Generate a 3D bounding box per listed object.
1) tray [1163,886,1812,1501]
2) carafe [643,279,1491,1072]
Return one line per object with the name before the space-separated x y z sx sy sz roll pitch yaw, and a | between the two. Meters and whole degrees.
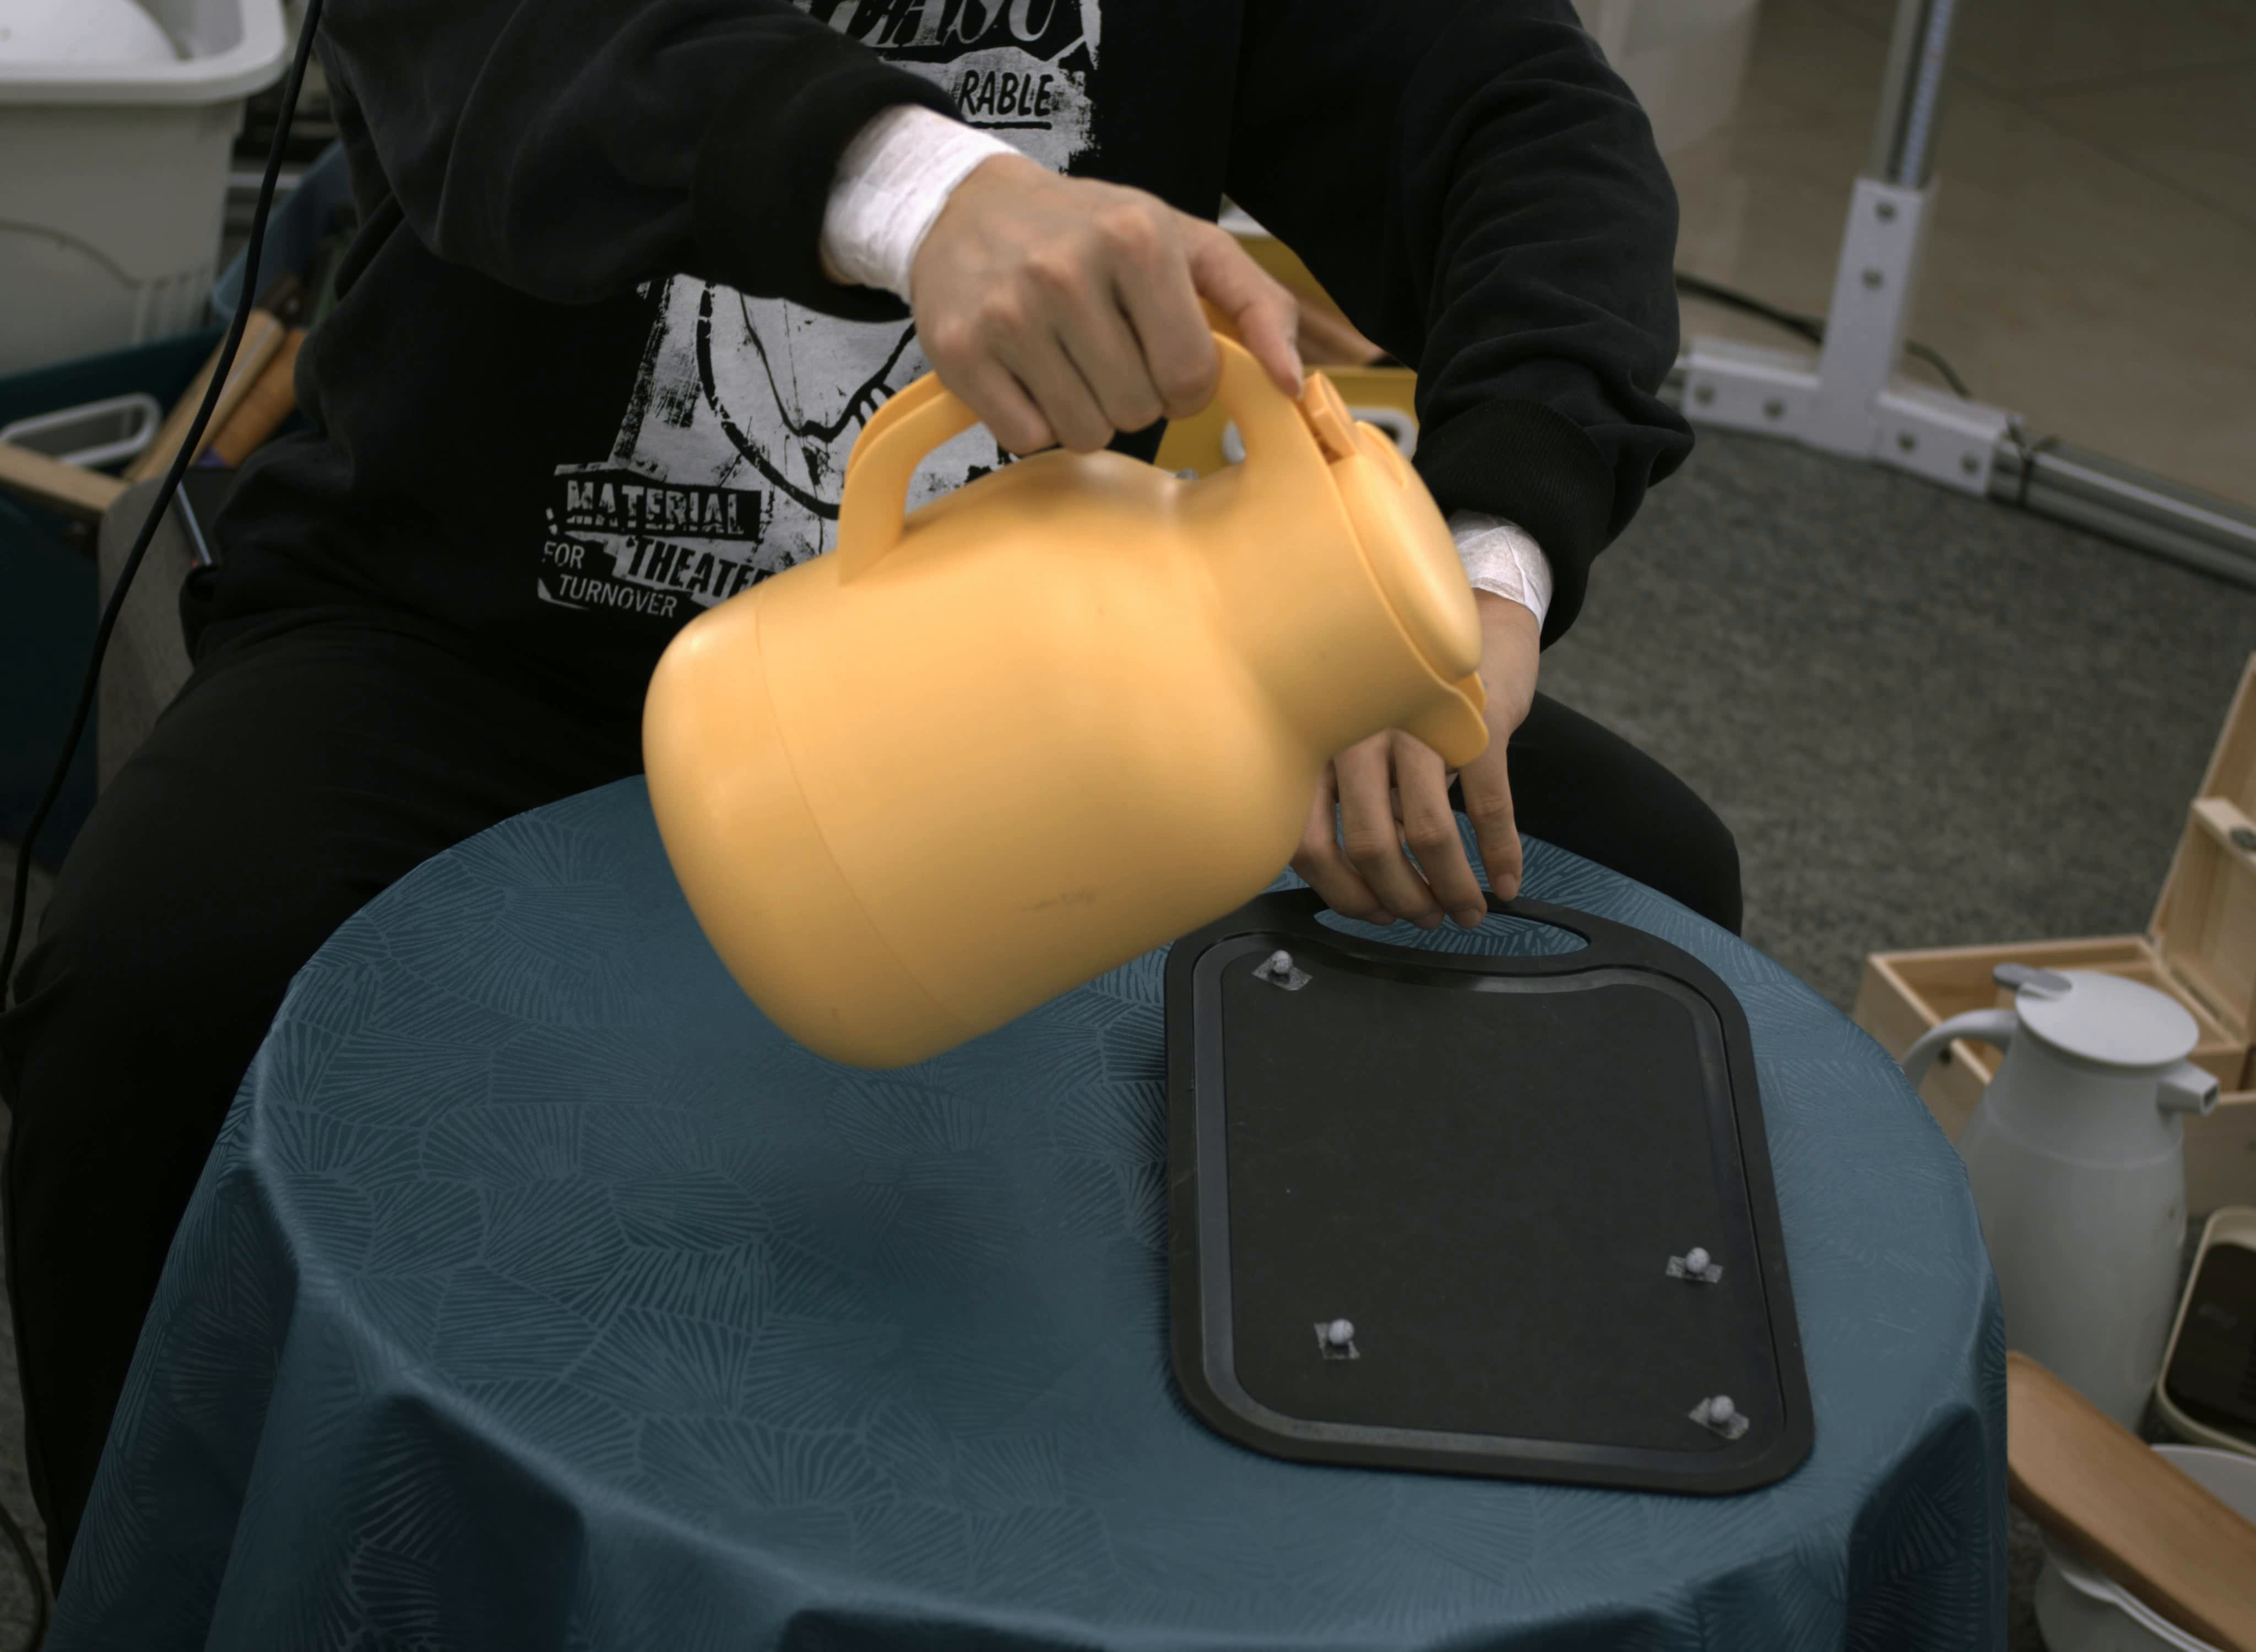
tray | 0.117 0.114 1.803 0.210 0.010 0.328 6 34 -3
carafe | -0.025 -0.054 1.693 0.260 0.201 0.164 -26 21 11
